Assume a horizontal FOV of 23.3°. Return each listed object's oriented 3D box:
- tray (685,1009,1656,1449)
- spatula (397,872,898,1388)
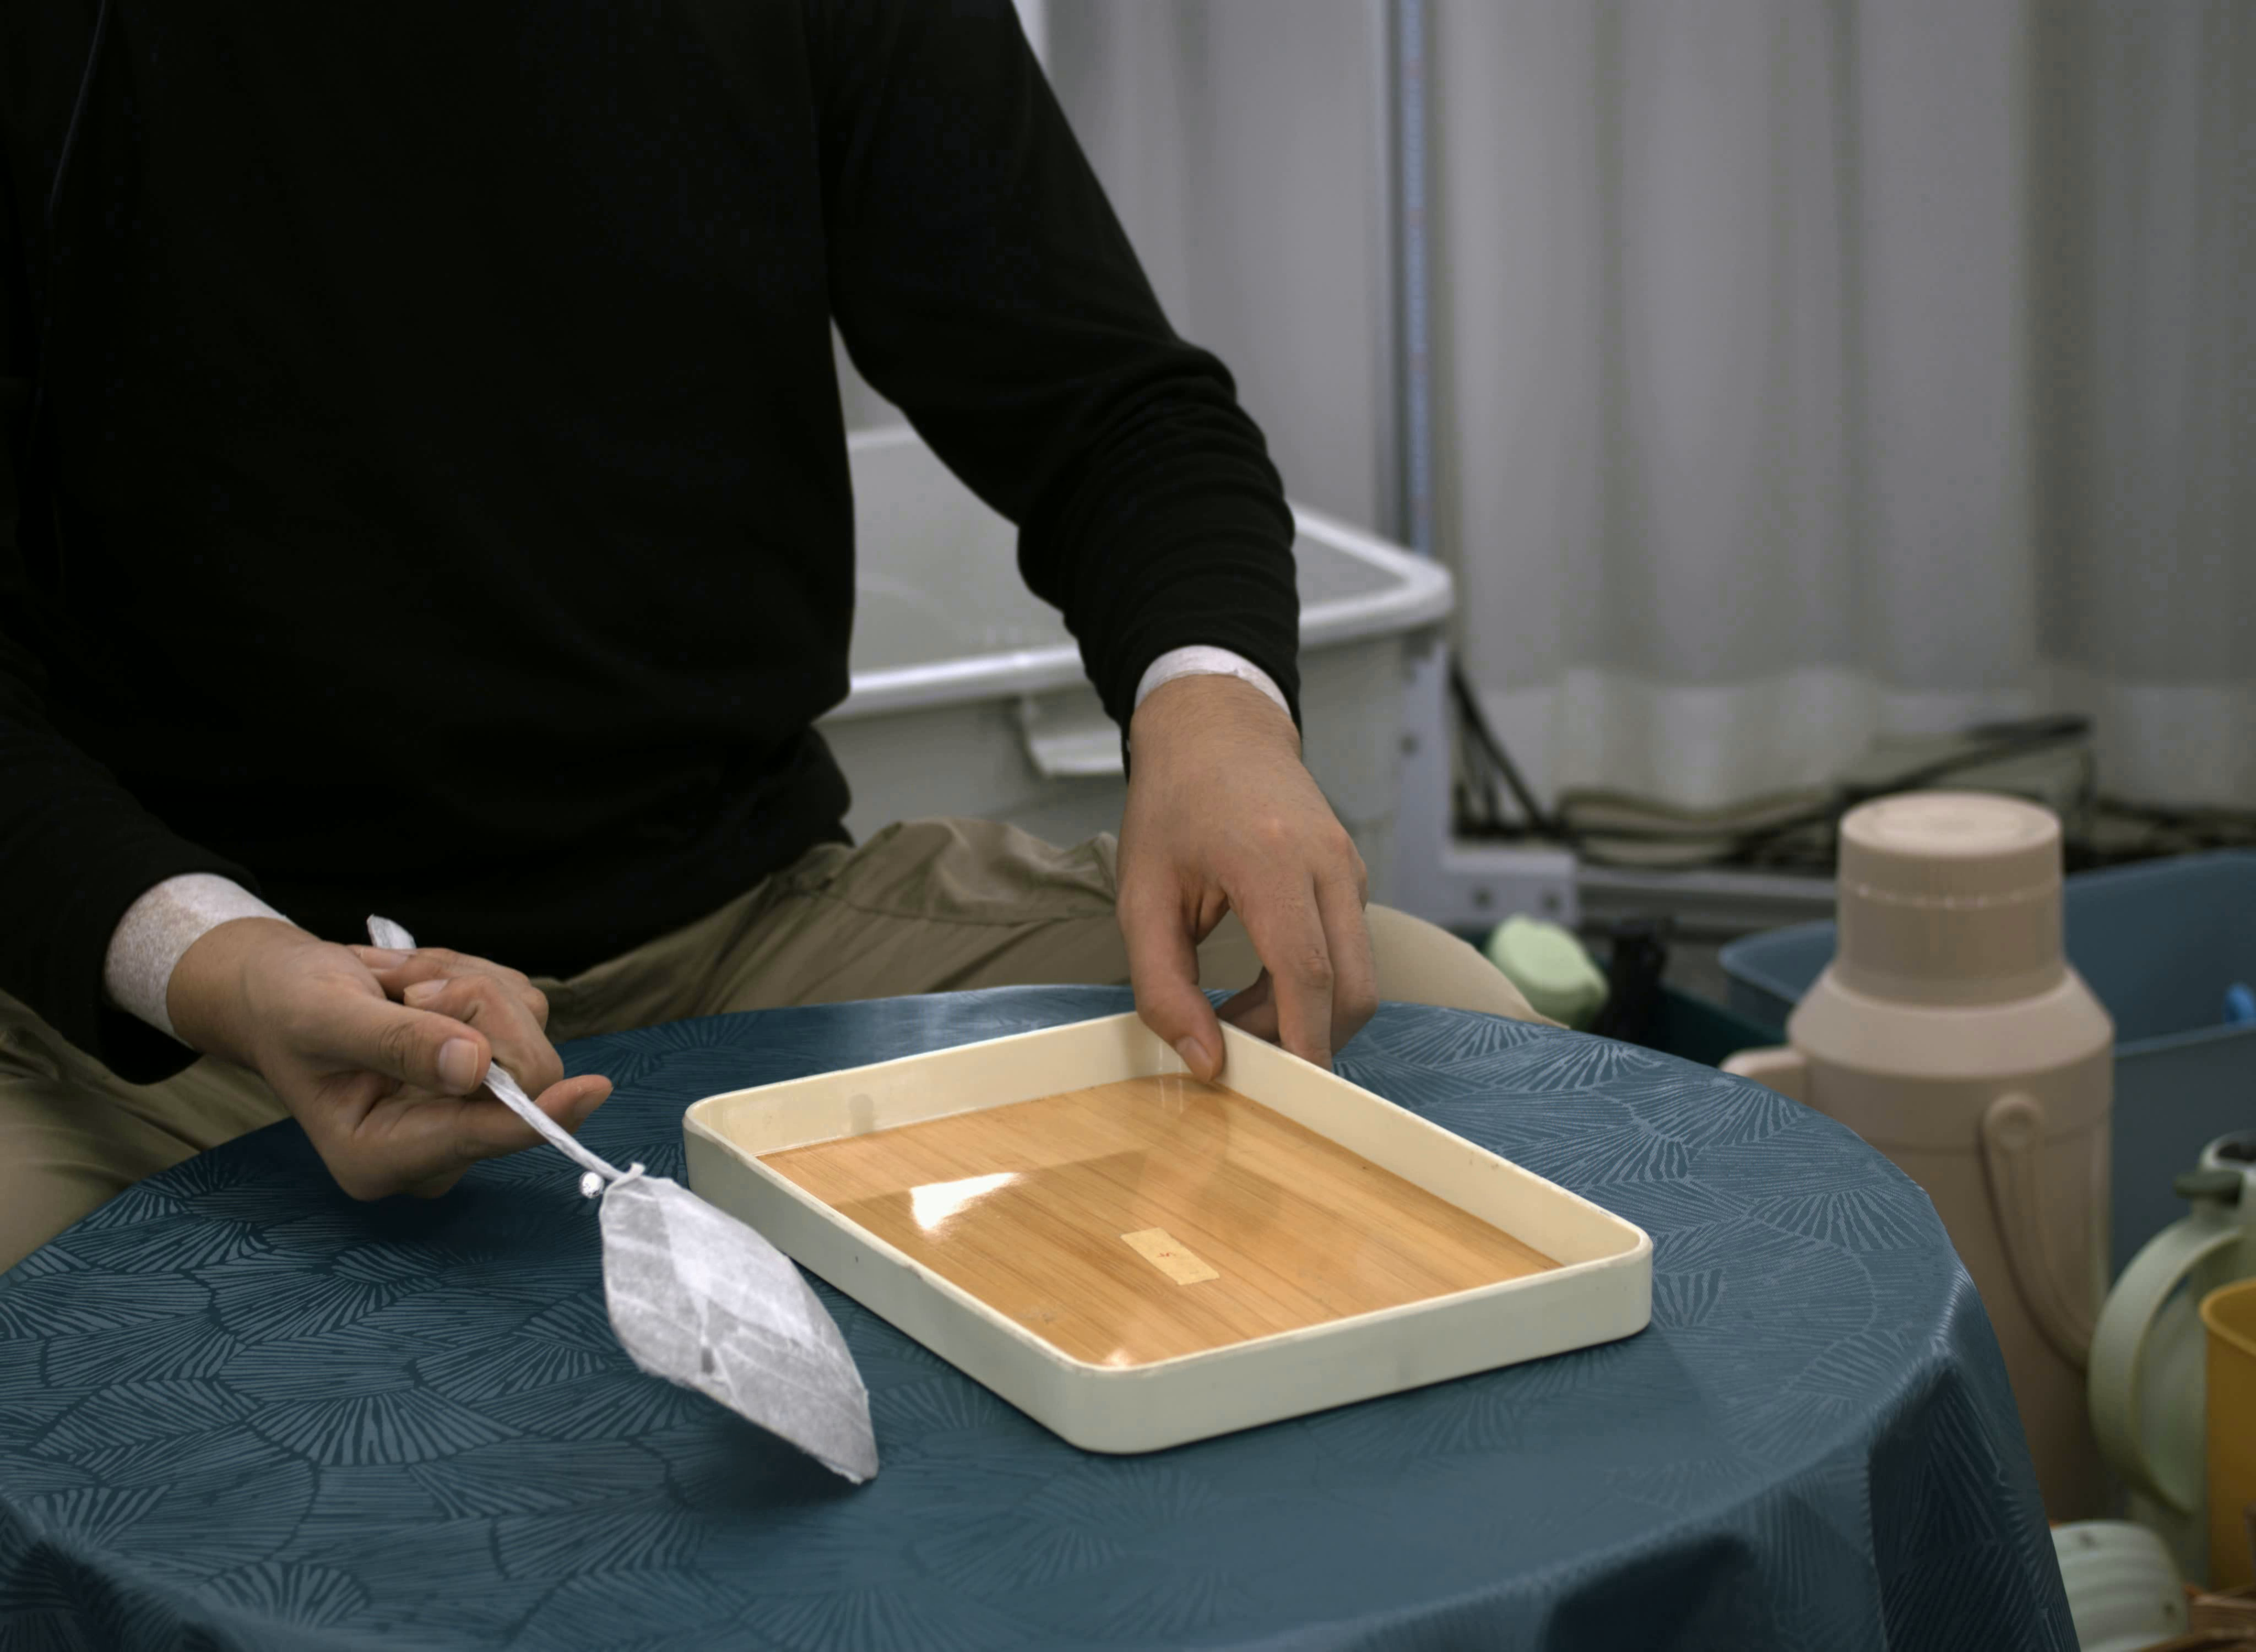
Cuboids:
[{"bbox_3d":[0.006,0.117,1.653,0.191,0.027,0.302,-10,16,-25],"label":"tray"},{"bbox_3d":[-0.155,0.073,1.603,0.045,0.097,0.367,-43,28,-14],"label":"spatula"}]
